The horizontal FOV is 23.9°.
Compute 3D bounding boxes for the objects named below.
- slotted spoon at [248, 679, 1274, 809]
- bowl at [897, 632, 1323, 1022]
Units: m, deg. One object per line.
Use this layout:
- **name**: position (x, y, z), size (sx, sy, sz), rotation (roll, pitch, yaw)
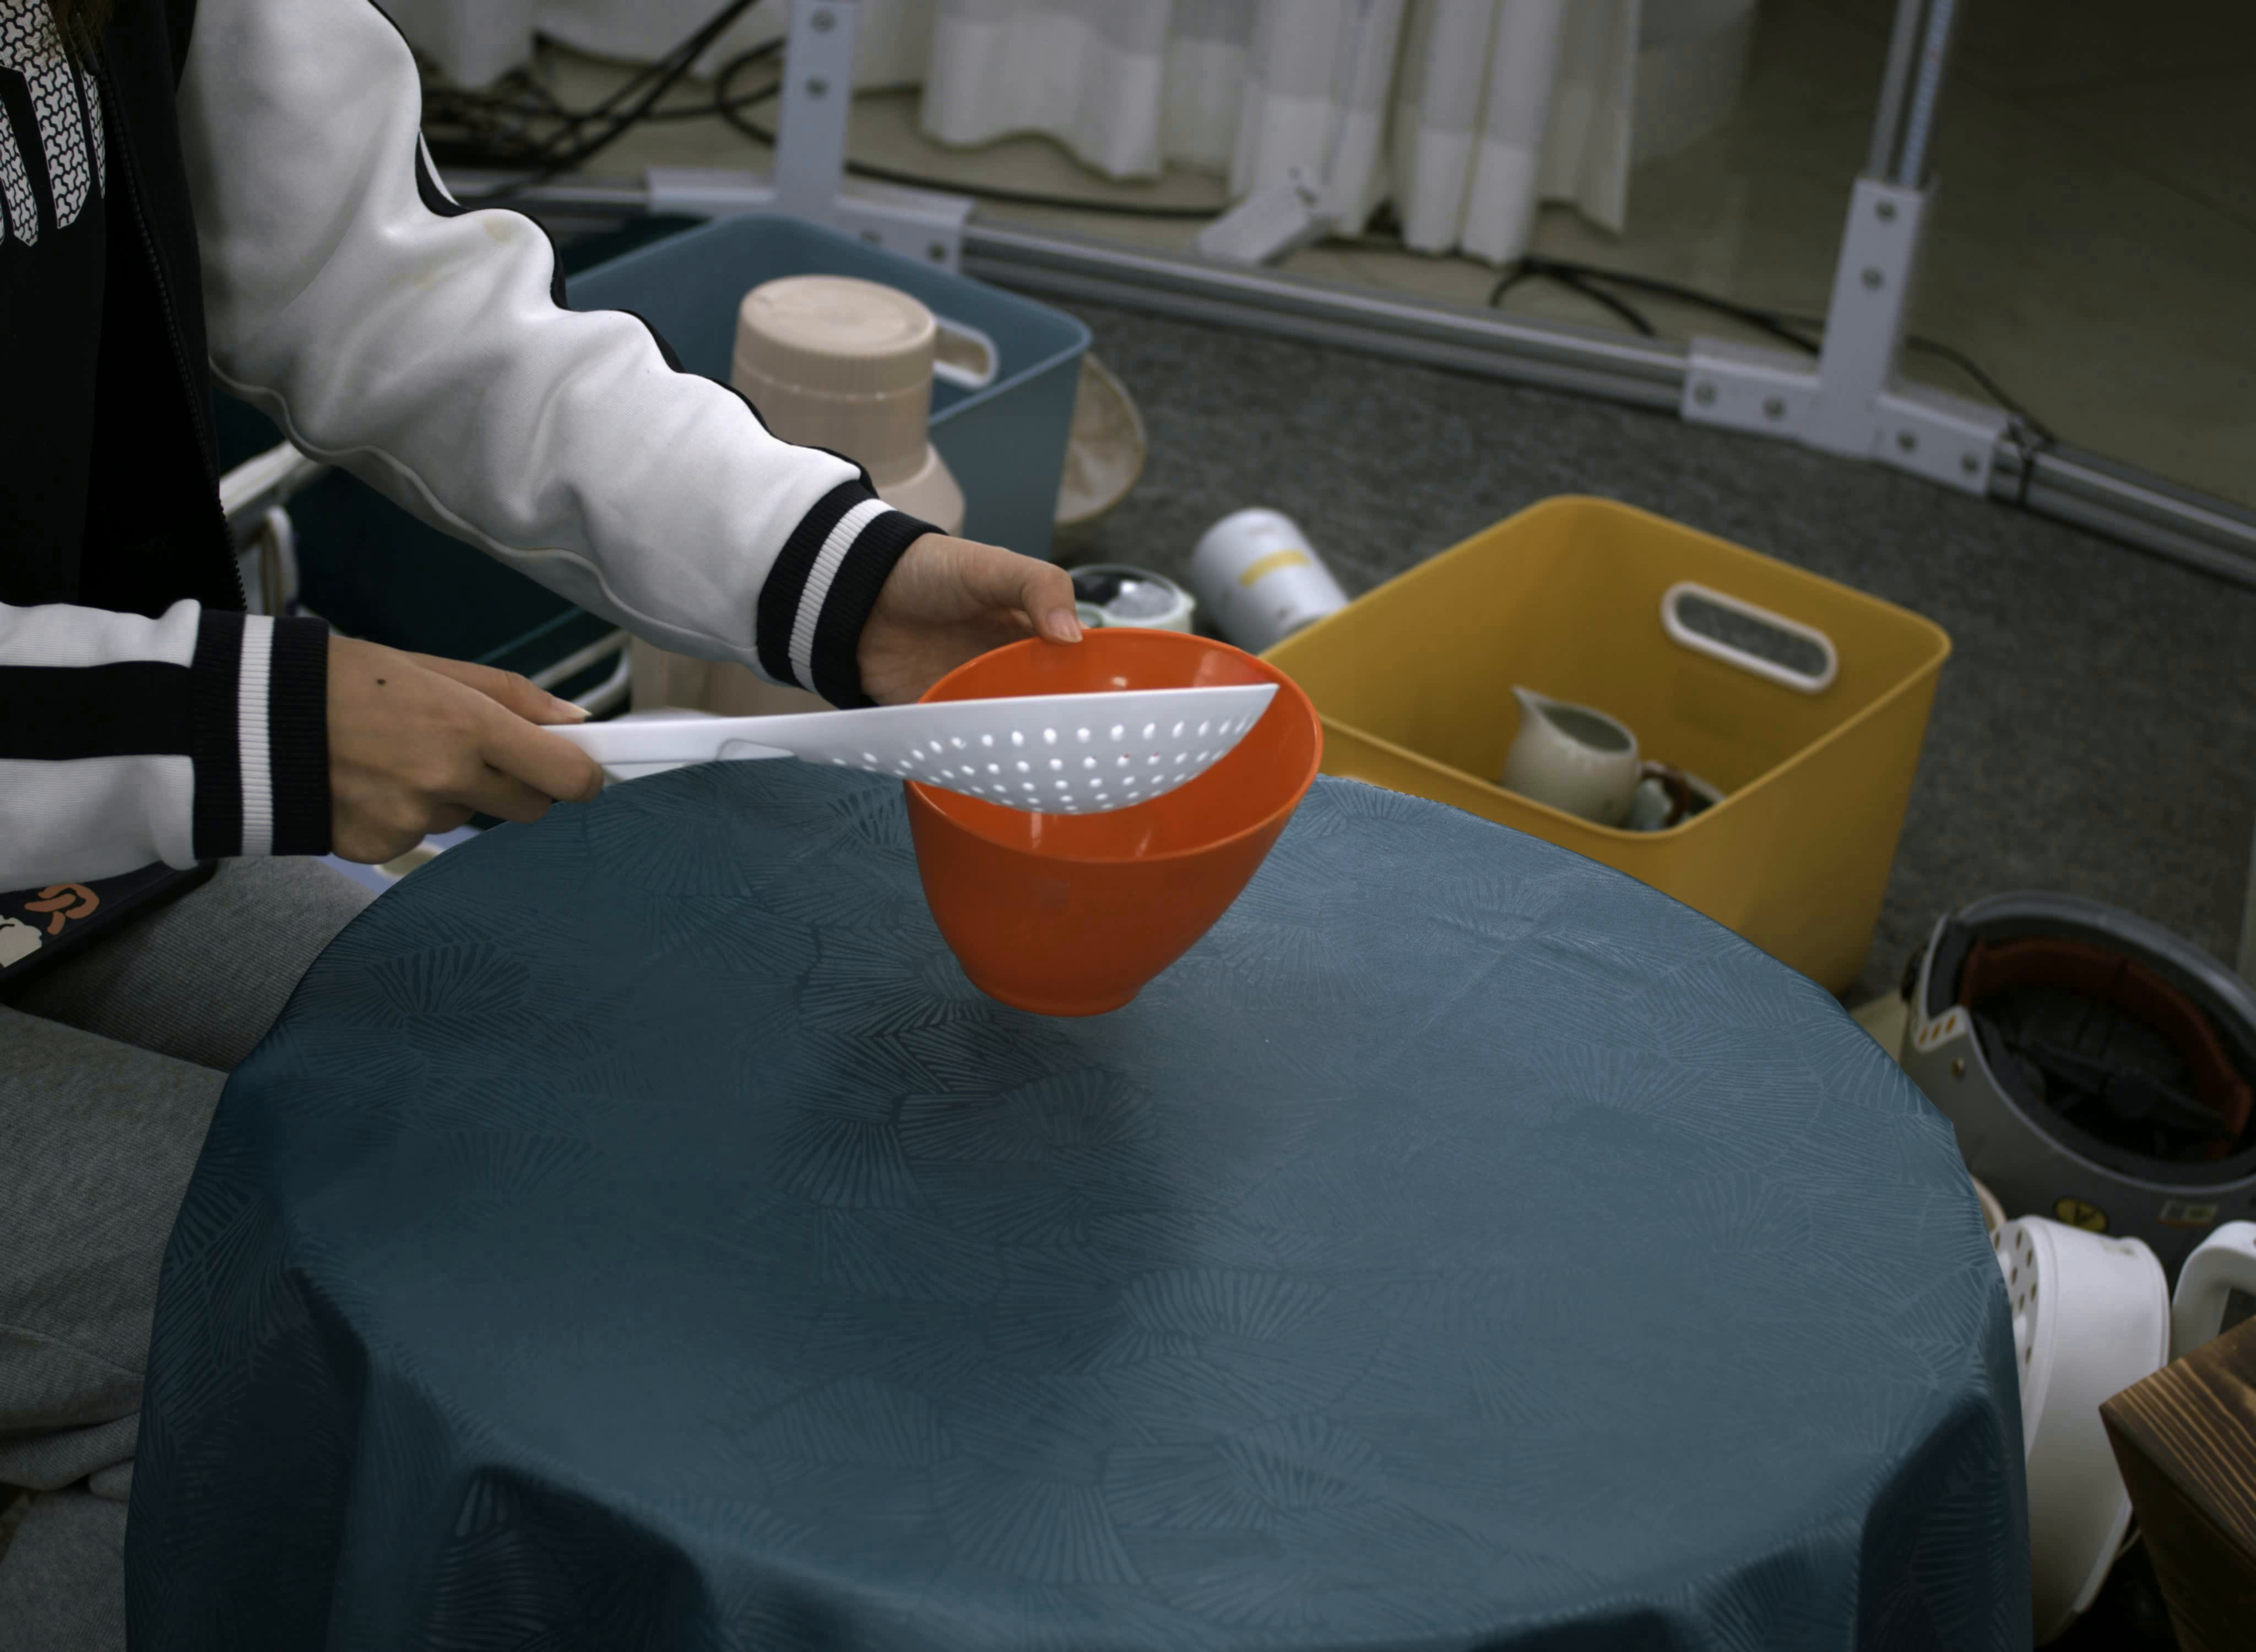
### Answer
- **slotted spoon**: position (-0.125, -0.032, 1.785), size (0.349, 0.046, 0.136), rotation (2, 2, 9)
- **bowl**: position (-0.011, 0.007, 1.874), size (0.147, 0.104, 0.149), rotation (7, 30, -4)
